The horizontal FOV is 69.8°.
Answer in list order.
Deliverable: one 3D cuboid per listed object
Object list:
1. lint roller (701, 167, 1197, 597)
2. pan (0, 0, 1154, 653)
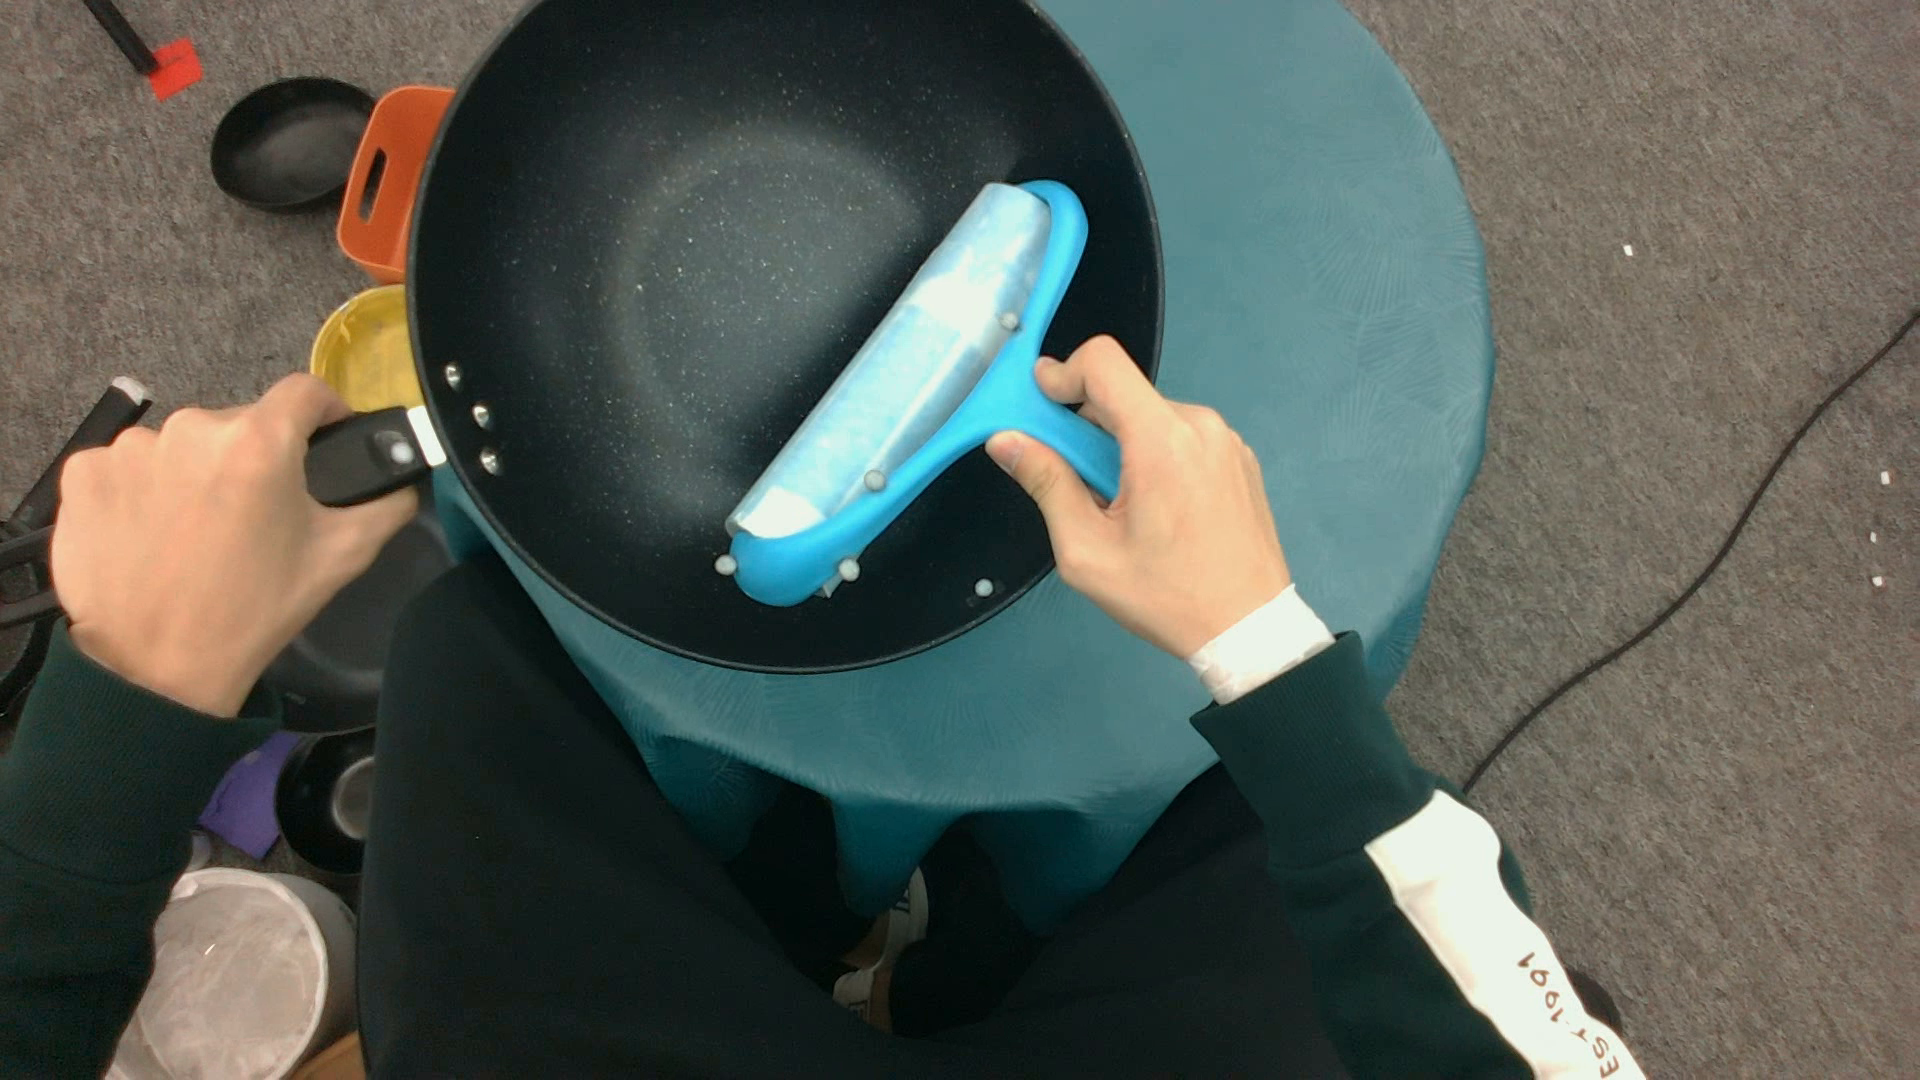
[{"bbox_3d":[0.014,-0.053,0.571,0.180,0.068,0.230,21,67,24],"label":"lint roller"},{"bbox_3d":[-0.147,-0.076,0.576,0.478,0.111,0.309,-23,103,-12],"label":"pan"}]
